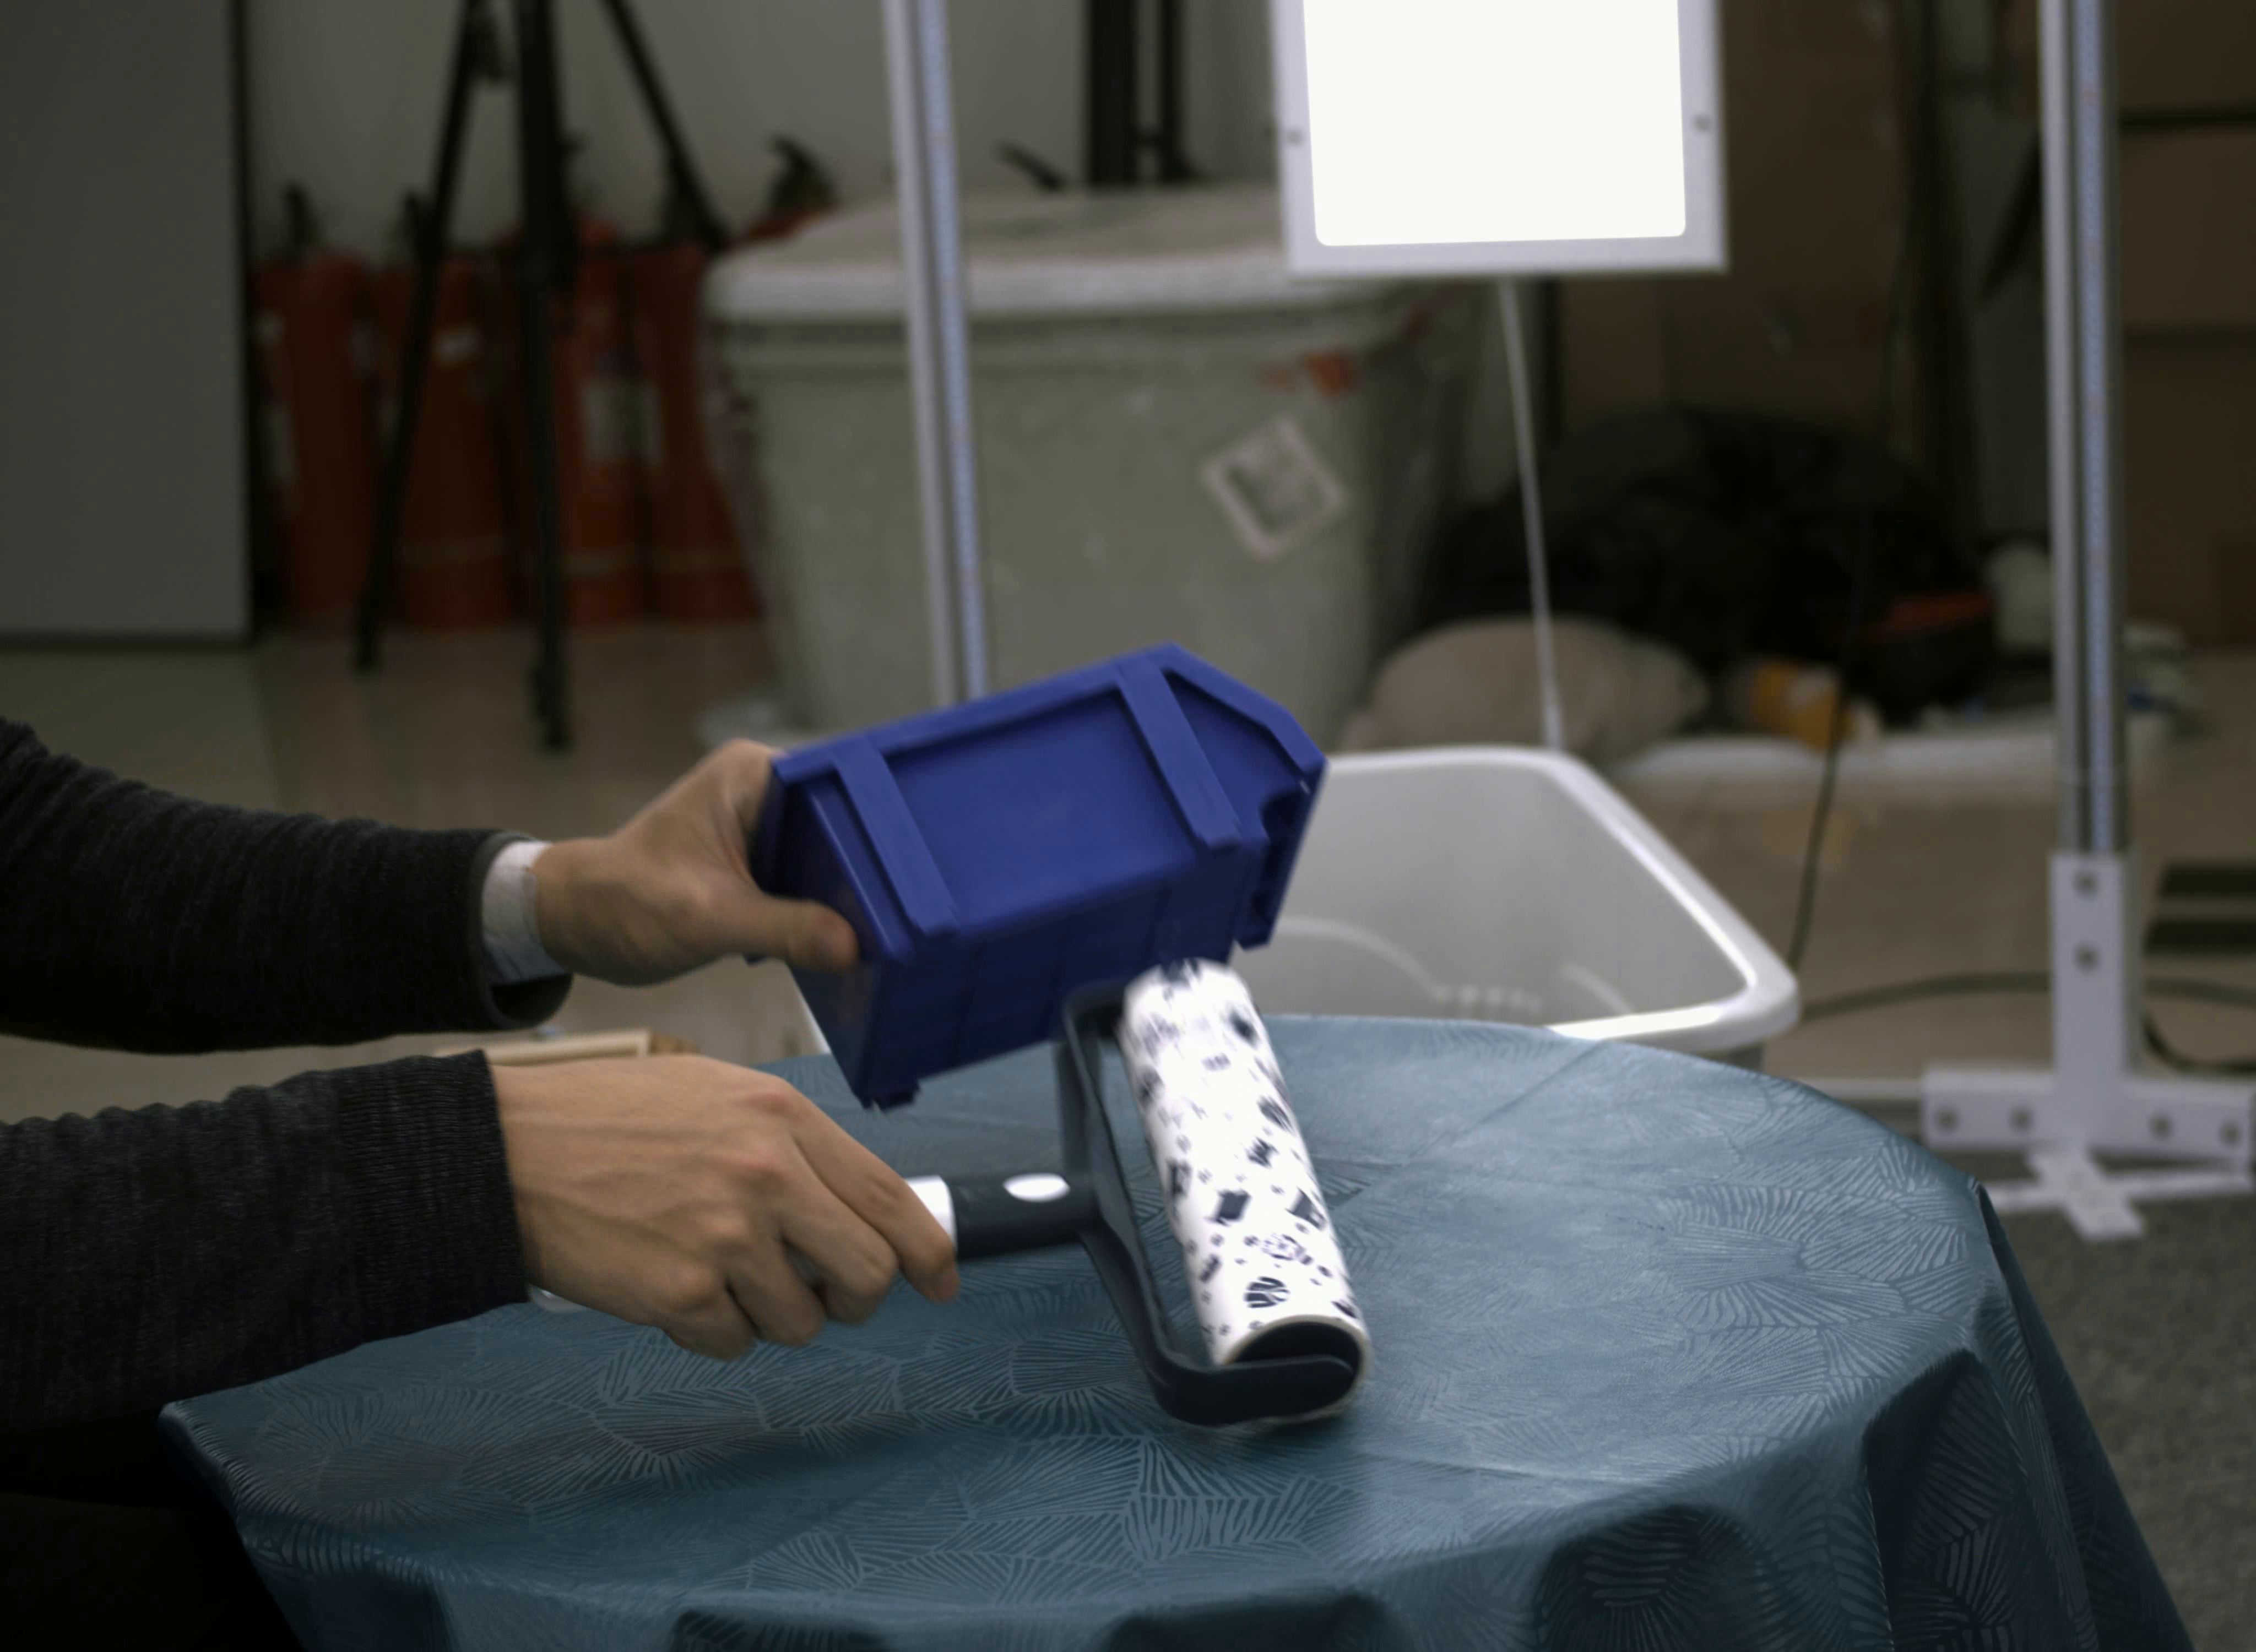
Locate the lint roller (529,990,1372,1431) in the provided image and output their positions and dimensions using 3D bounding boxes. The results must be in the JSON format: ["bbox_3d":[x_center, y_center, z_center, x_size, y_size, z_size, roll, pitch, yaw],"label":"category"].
[{"bbox_3d":[-0.060,0.126,1.688,0.244,0.051,0.177,-5,37,-9],"label":"lint roller"}]

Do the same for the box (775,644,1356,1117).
[{"bbox_3d":[-0.020,0.018,1.885,0.176,0.082,0.125,-20,-26,-18],"label":"box"}]
